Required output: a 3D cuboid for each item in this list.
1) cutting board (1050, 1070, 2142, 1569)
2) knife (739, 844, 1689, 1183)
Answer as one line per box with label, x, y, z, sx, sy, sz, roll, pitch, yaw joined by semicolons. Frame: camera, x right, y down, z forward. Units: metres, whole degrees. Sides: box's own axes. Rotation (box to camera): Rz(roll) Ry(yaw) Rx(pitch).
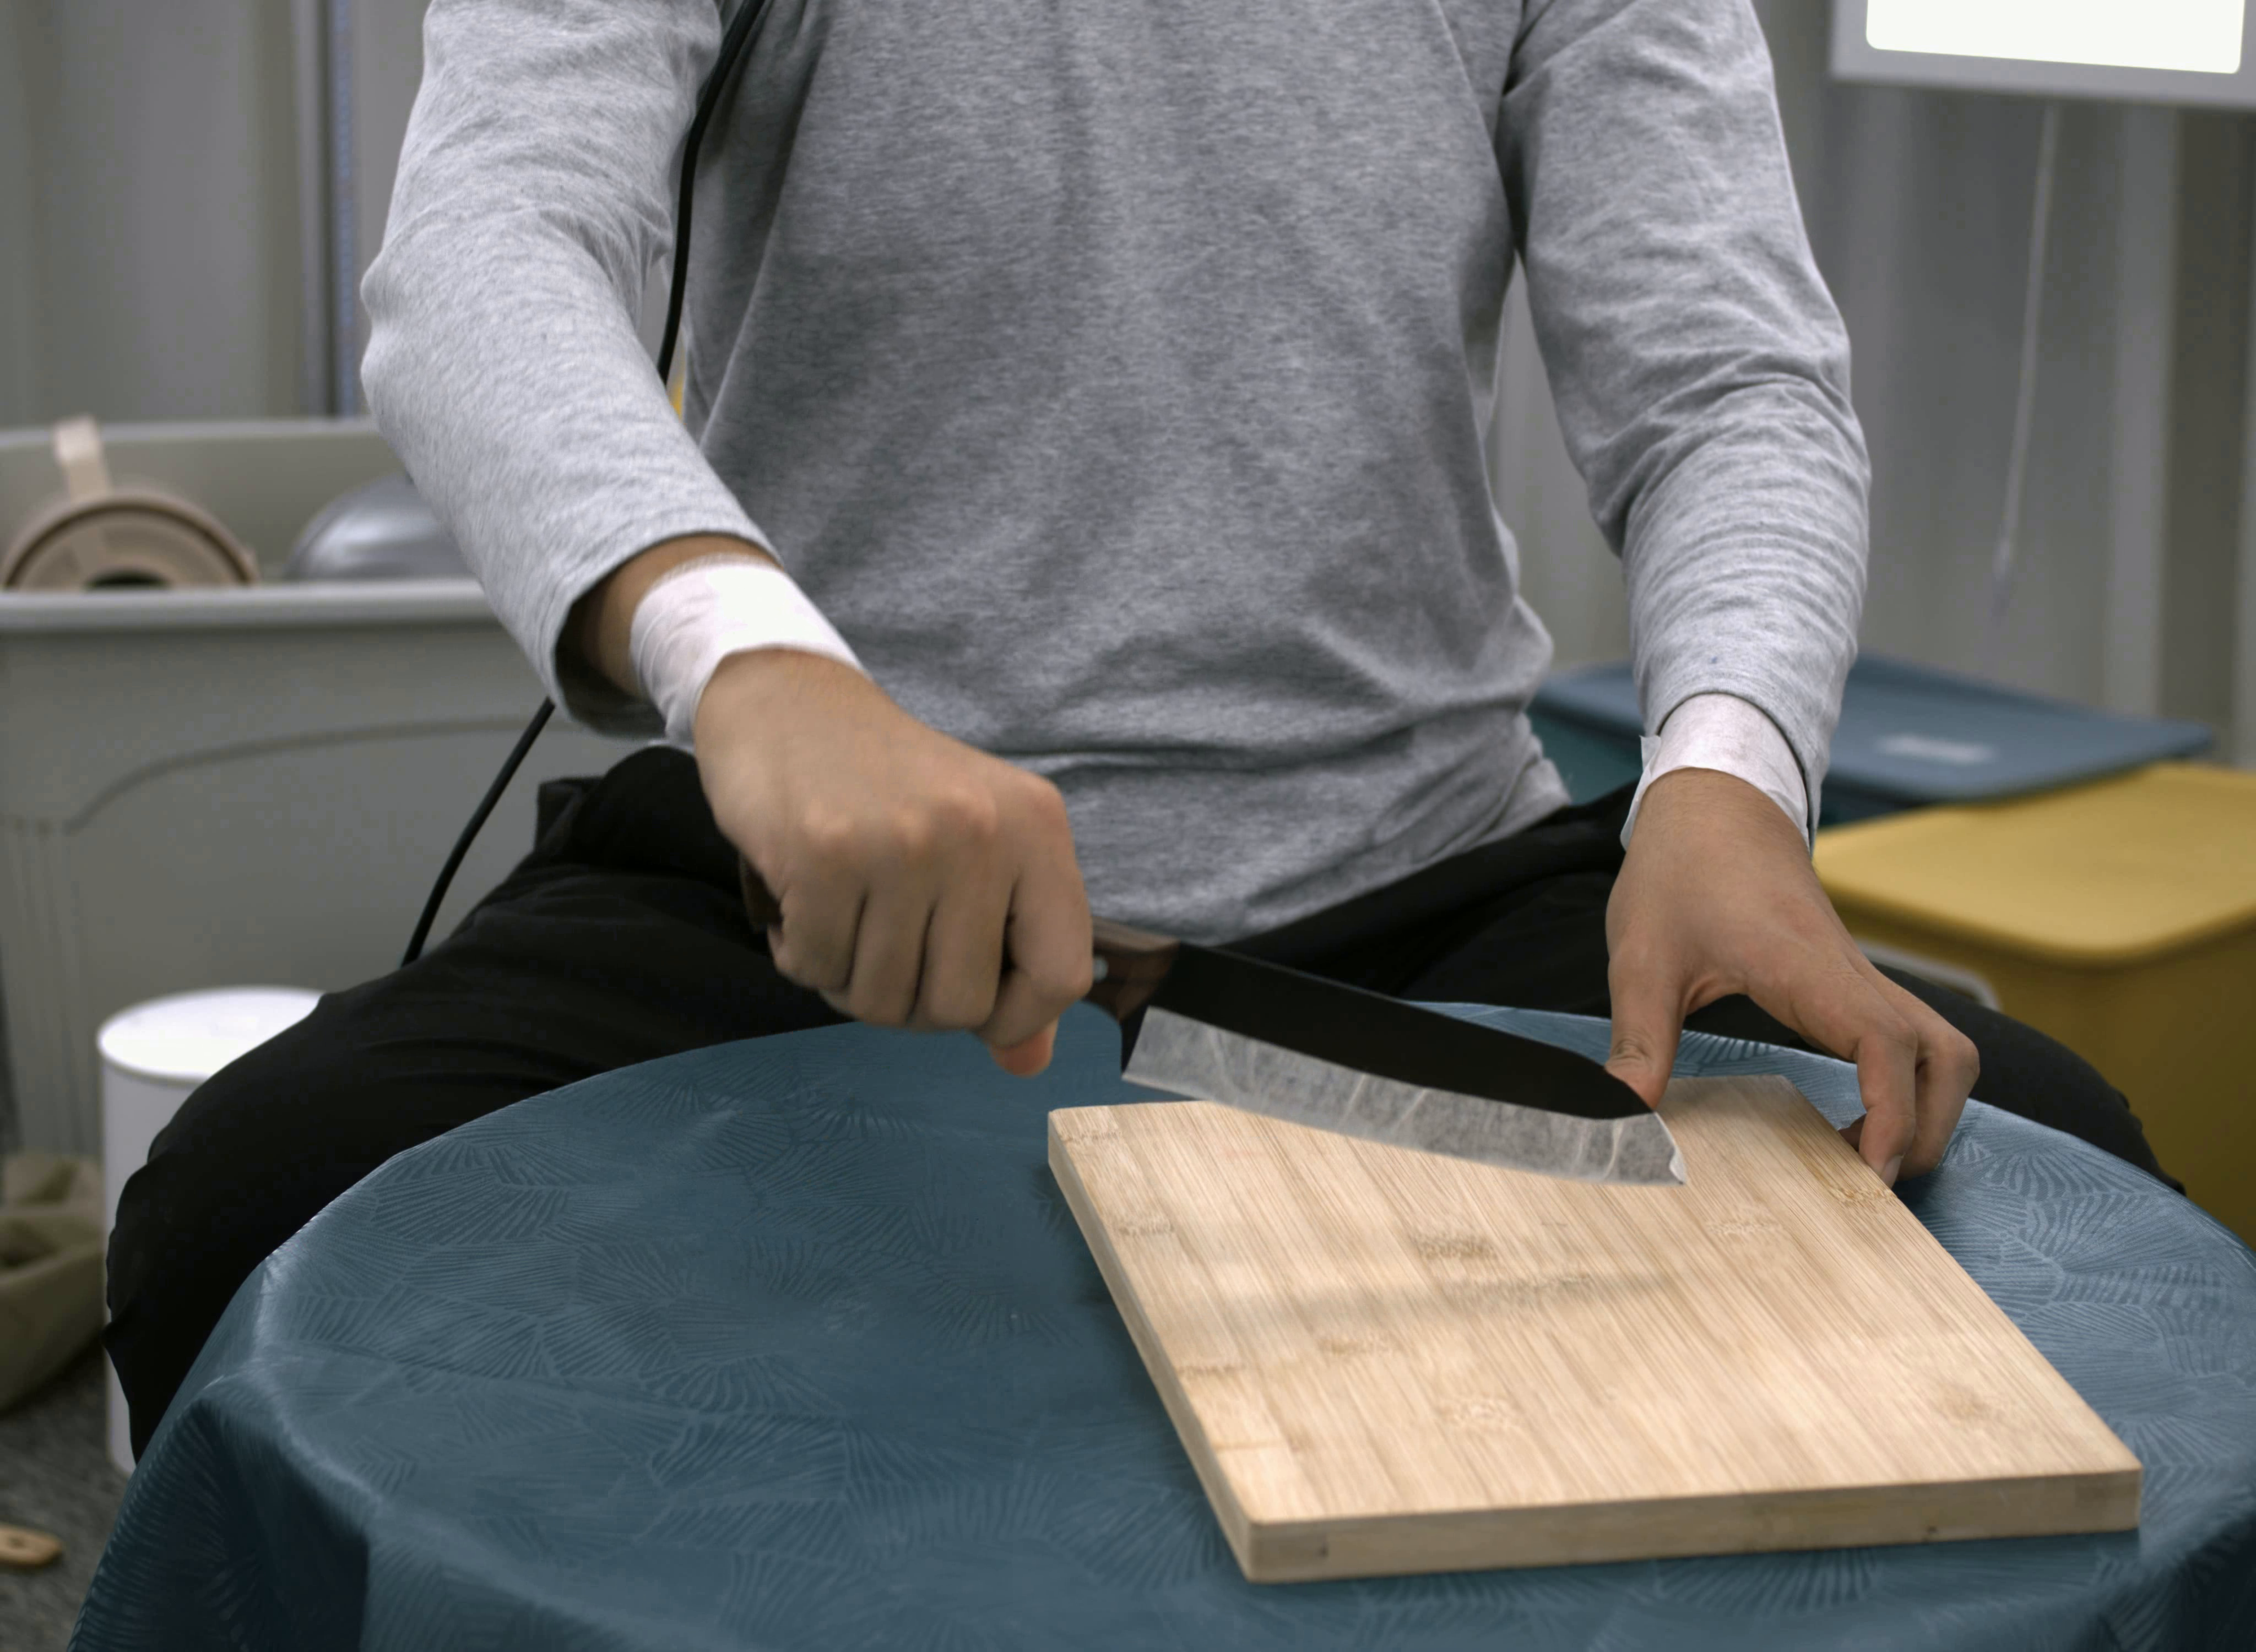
cutting board;0.120;0.135;1.517;0.251;0.024;0.345;-2;15;-10
knife;0.026;0.055;1.488;0.289;0.050;0.020;17;17;-10
